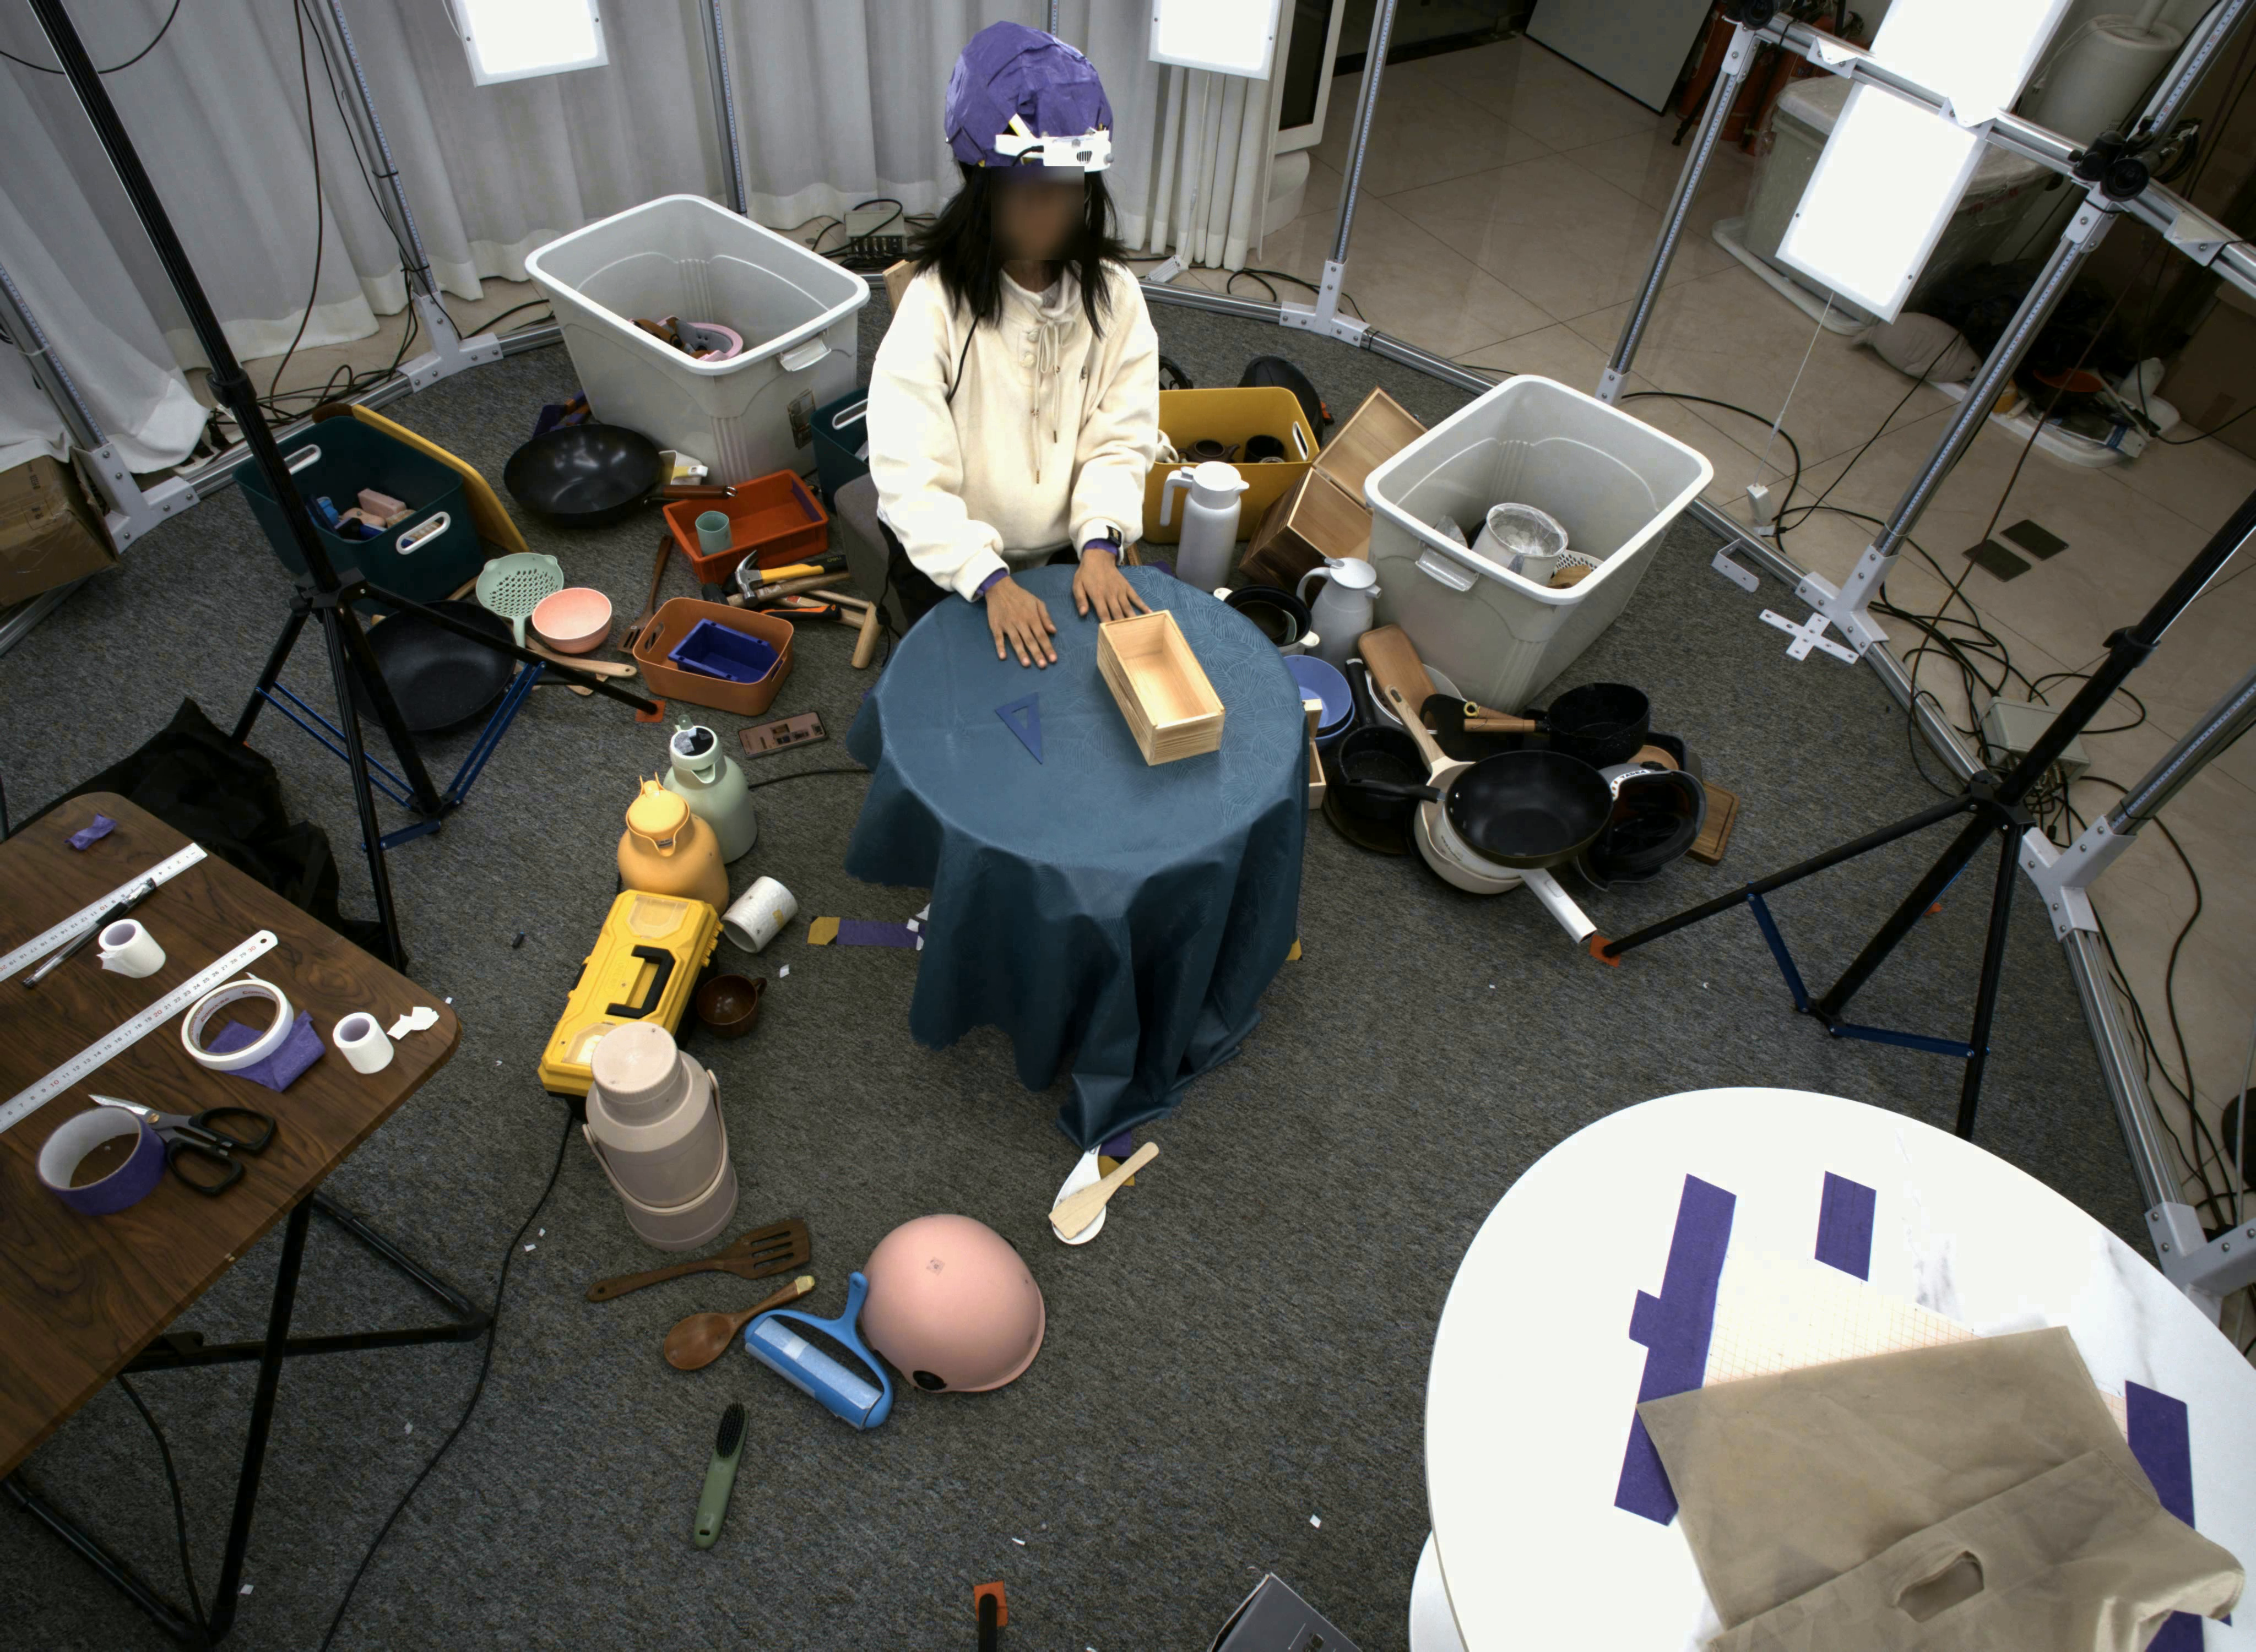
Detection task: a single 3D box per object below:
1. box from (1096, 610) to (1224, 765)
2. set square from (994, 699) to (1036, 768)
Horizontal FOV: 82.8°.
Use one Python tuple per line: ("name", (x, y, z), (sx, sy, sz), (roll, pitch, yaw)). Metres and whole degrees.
("box", (0.041, -0.197, 1.792), (0.107, 0.078, 0.216), (-13, 52, -16))
("set square", (-0.157, -0.131, 1.771), (0.061, 0.006, 0.135), (2, 49, -3))
